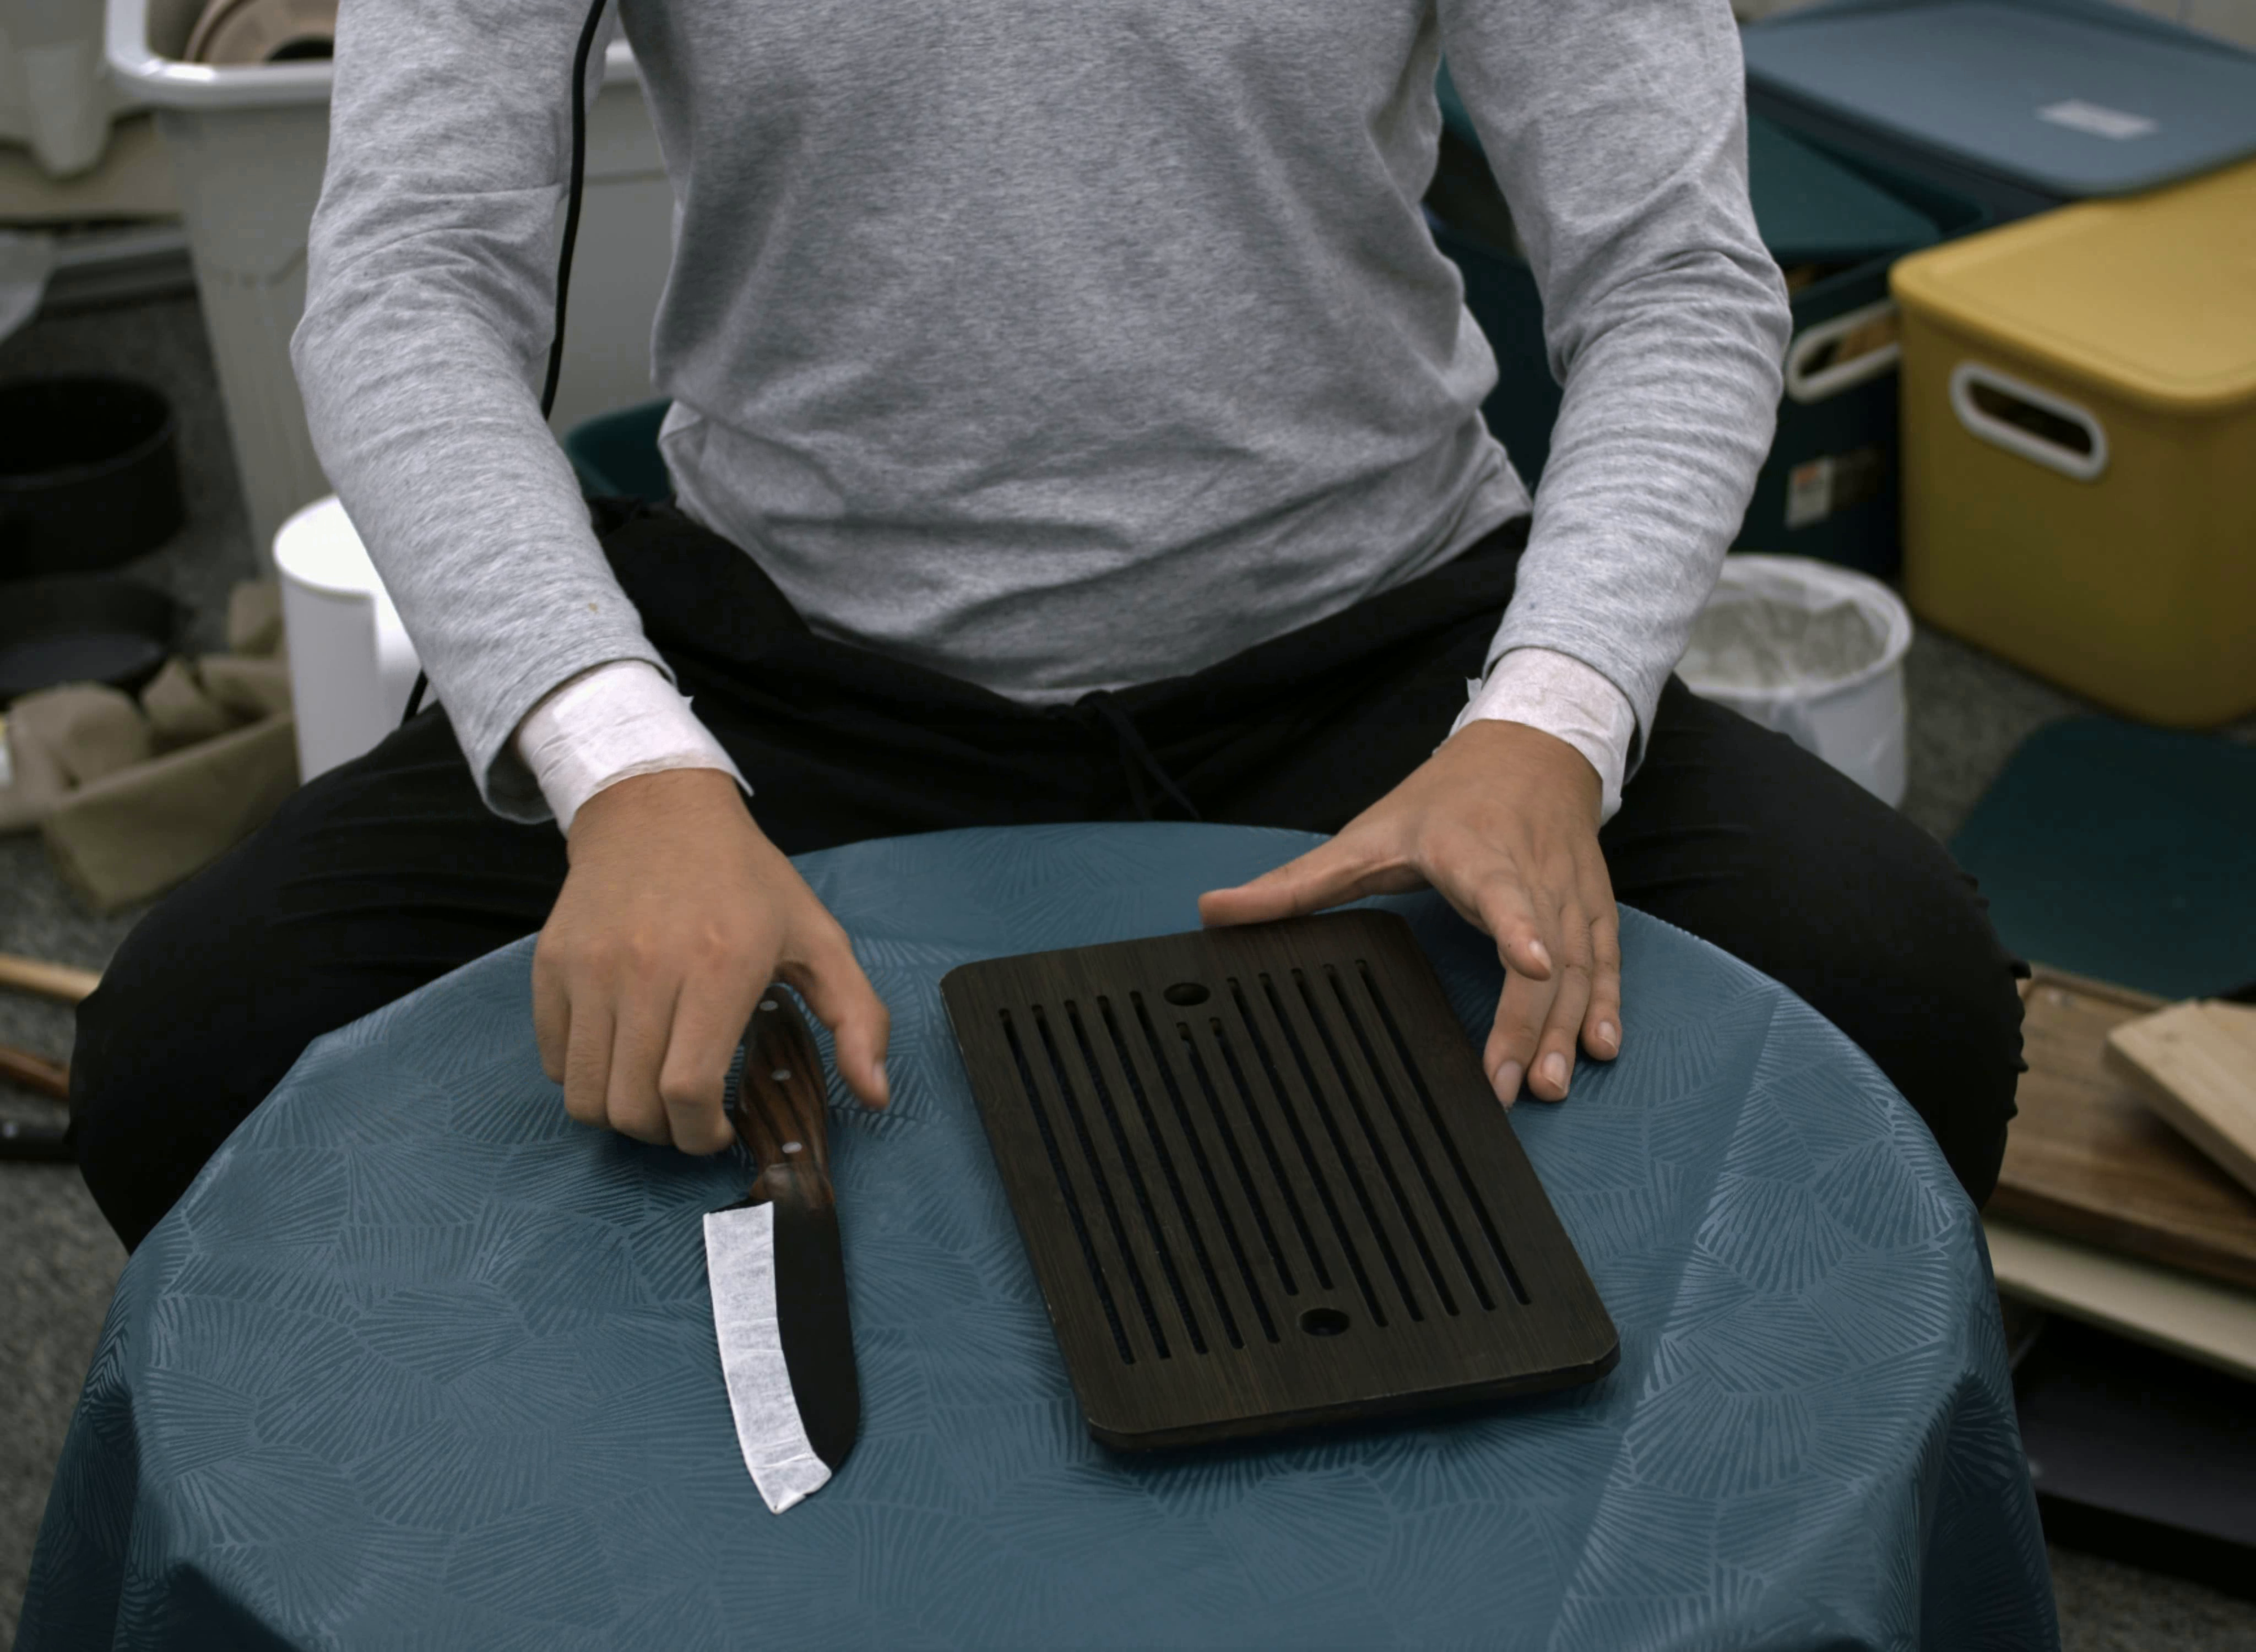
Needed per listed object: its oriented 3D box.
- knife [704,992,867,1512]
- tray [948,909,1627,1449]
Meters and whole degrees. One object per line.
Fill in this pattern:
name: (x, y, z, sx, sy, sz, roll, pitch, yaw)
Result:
knife: (-0.113, 0.137, 1.828, 0.050, 0.020, 0.293, -9, 30, 0)
tray: (0.046, 0.113, 1.855, 0.170, 0.018, 0.309, -7, 27, -8)
